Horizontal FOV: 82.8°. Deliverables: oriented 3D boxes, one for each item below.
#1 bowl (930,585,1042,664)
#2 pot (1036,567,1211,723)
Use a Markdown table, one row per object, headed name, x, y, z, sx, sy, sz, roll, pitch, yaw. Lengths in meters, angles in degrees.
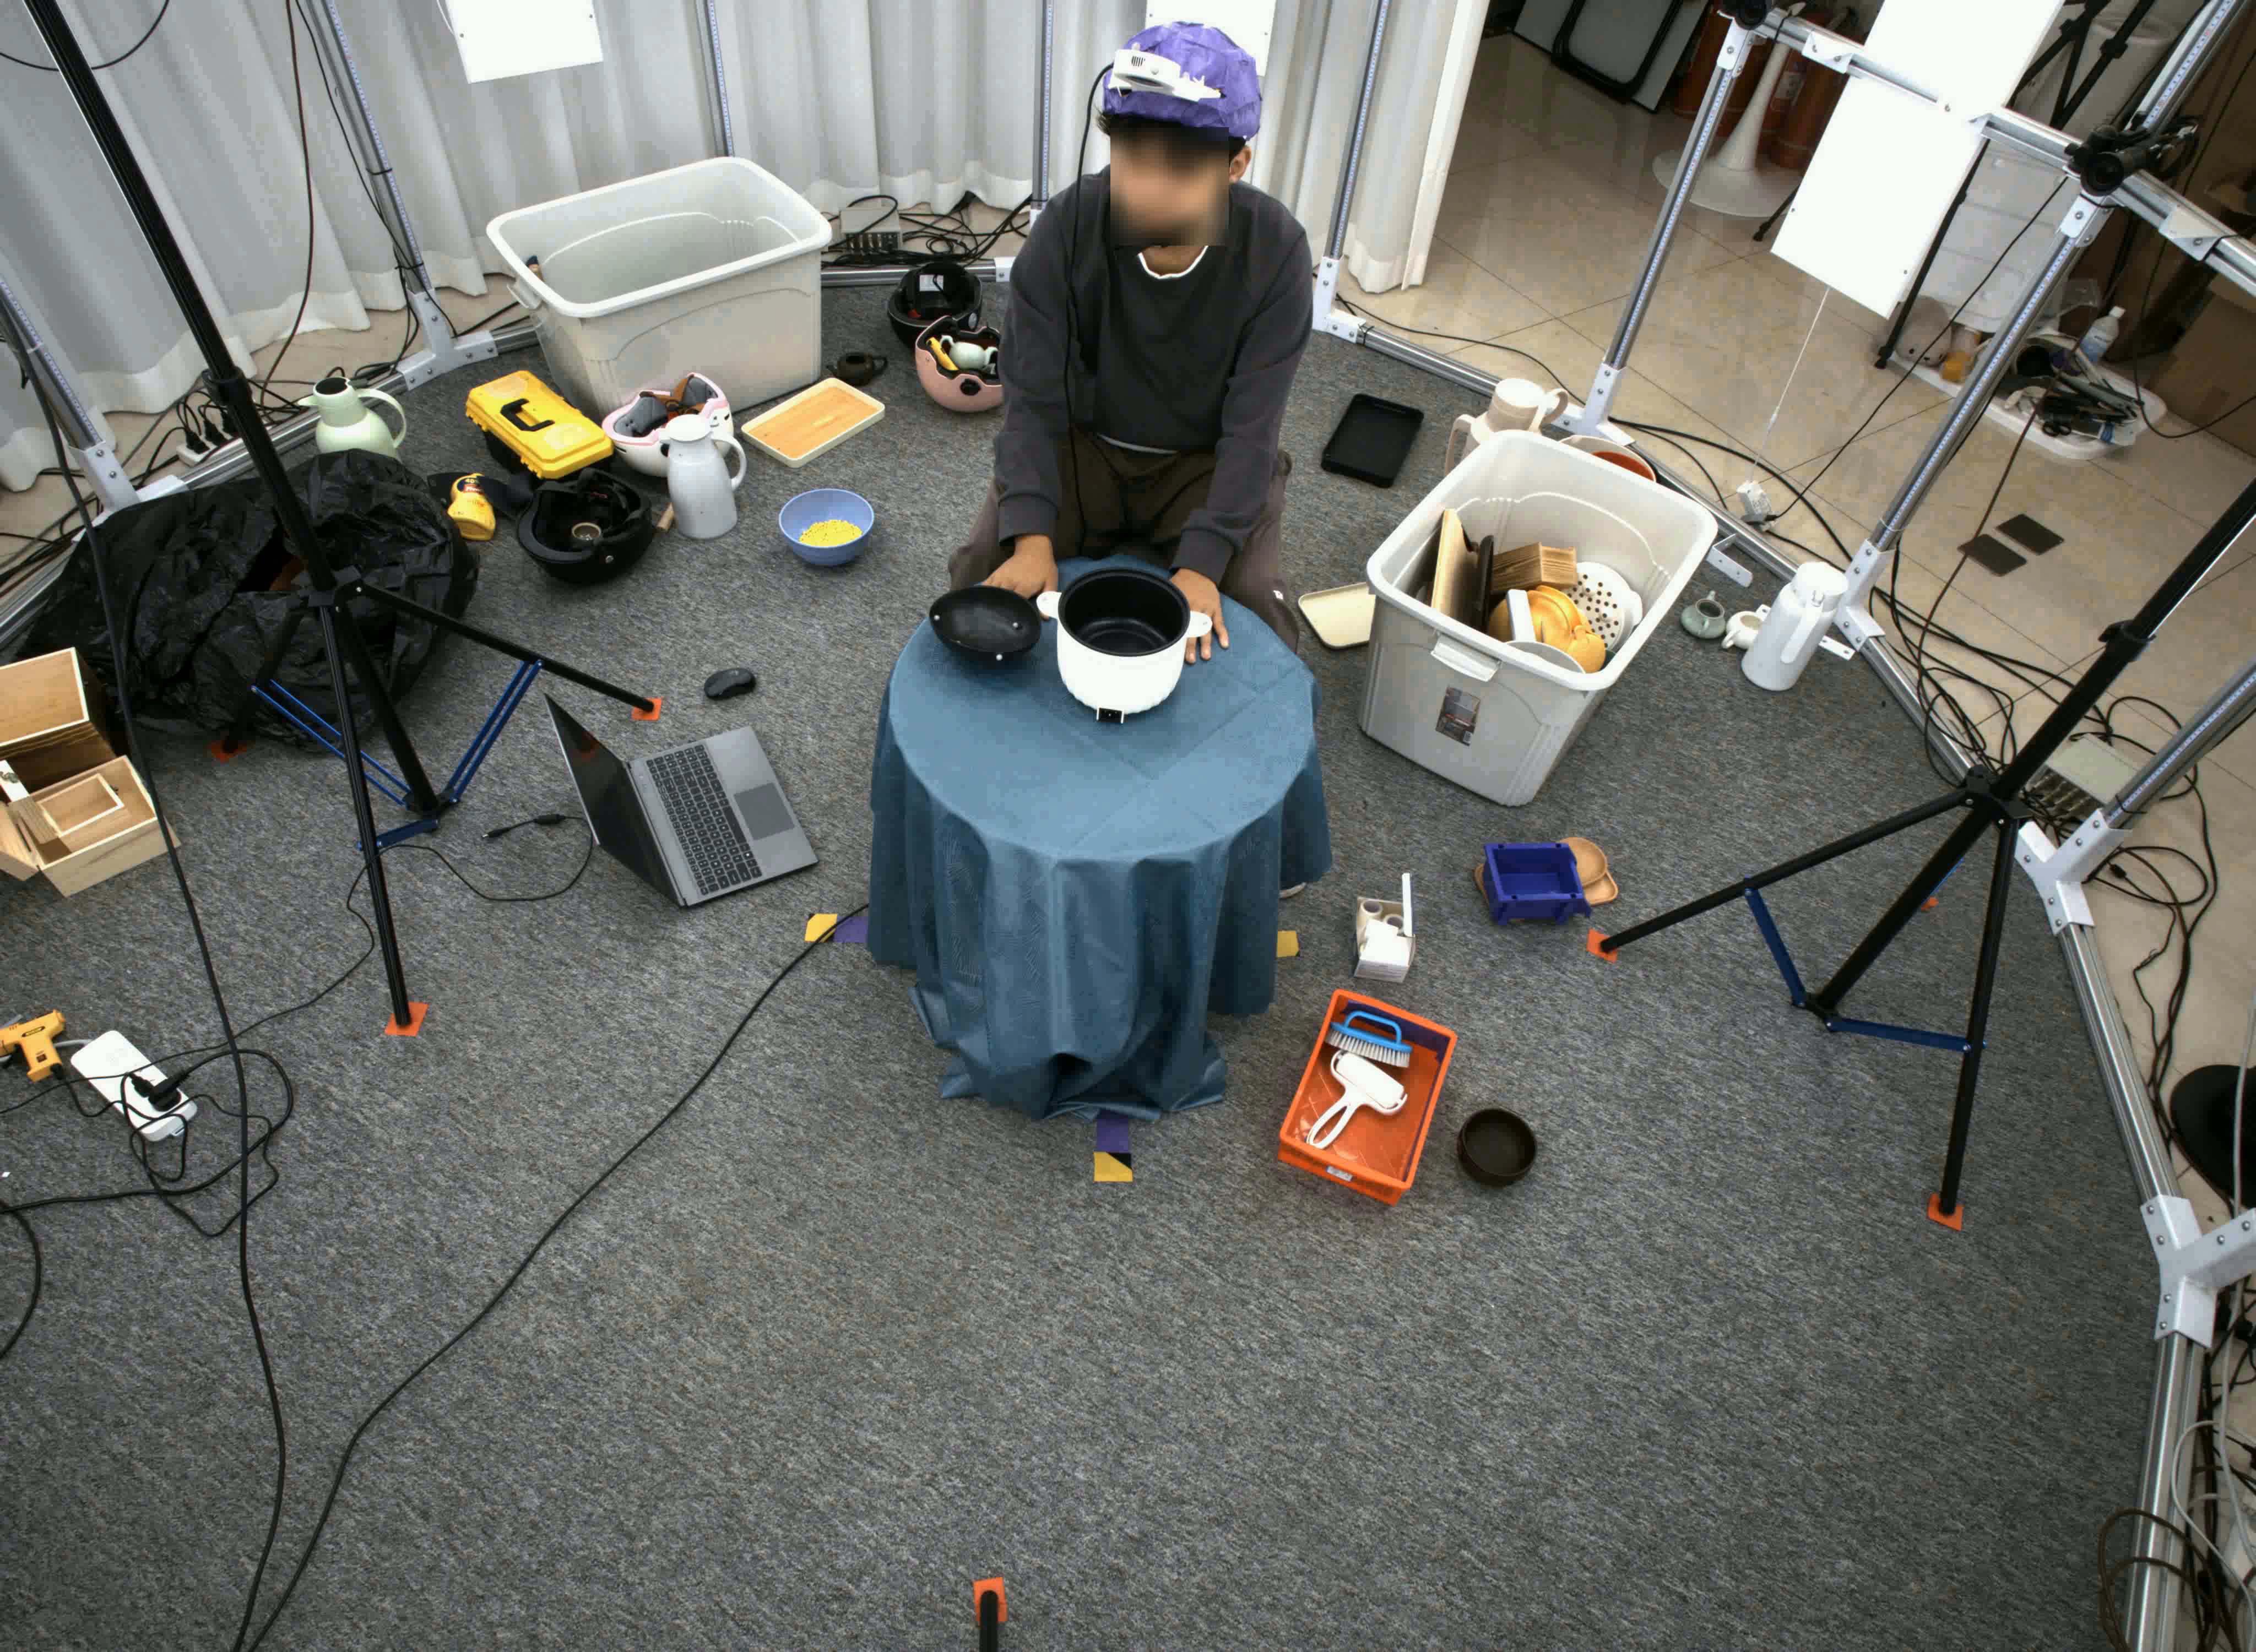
| name | x | y | z | sx | sy | sz | roll | pitch | yaw |
| --- | --- | --- | --- | --- | --- | --- | --- | --- | --- |
| bowl | -0.204 | -0.278 | 1.850 | 0.171 | 0.065 | 0.140 | 23 | 51 | 16 |
| pot | -0.010 | -0.256 | 1.798 | 0.240 | 0.139 | 0.195 | 8 | 52 | 1 |
